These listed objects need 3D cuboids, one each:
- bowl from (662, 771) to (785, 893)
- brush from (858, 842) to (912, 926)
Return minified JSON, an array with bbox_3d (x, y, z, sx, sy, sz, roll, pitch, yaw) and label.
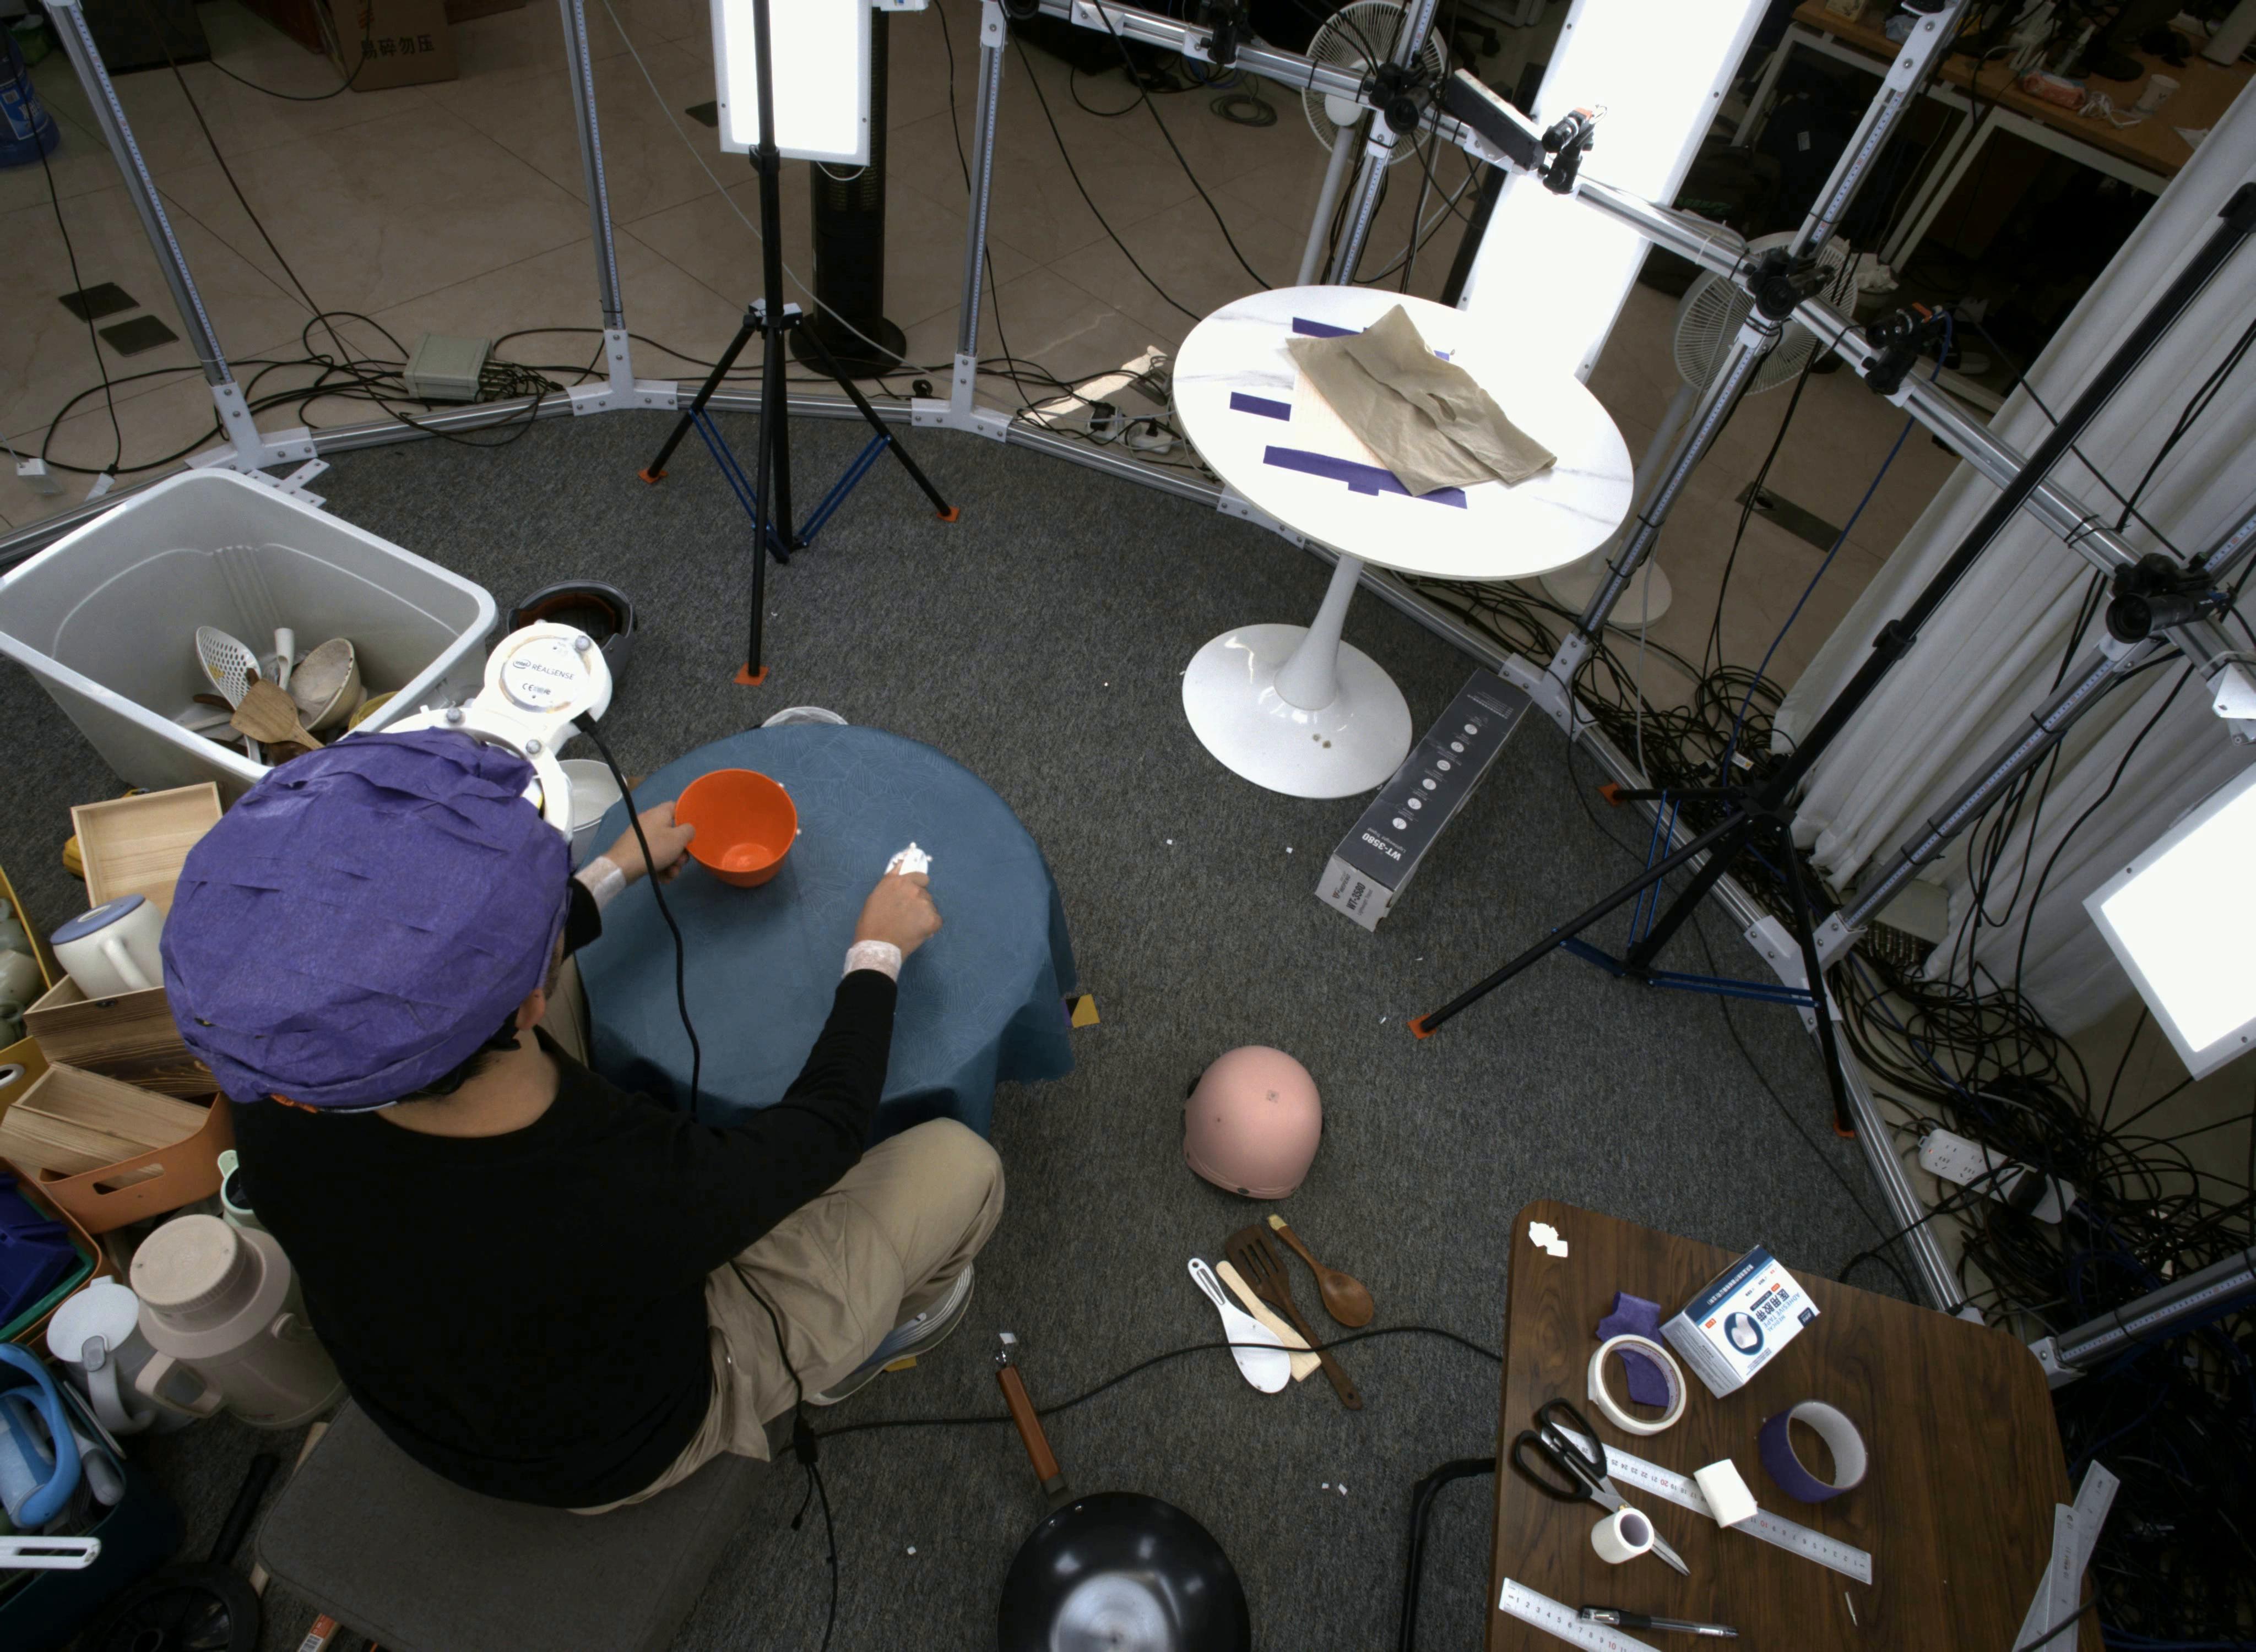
[{"bbox_3d":[-0.503,0.019,1.621,0.147,0.107,0.145,6,55,-7],"label":"bowl"},{"bbox_3d":[-0.295,0.066,1.596,0.050,0.072,0.099,22,65,-12],"label":"brush"}]
